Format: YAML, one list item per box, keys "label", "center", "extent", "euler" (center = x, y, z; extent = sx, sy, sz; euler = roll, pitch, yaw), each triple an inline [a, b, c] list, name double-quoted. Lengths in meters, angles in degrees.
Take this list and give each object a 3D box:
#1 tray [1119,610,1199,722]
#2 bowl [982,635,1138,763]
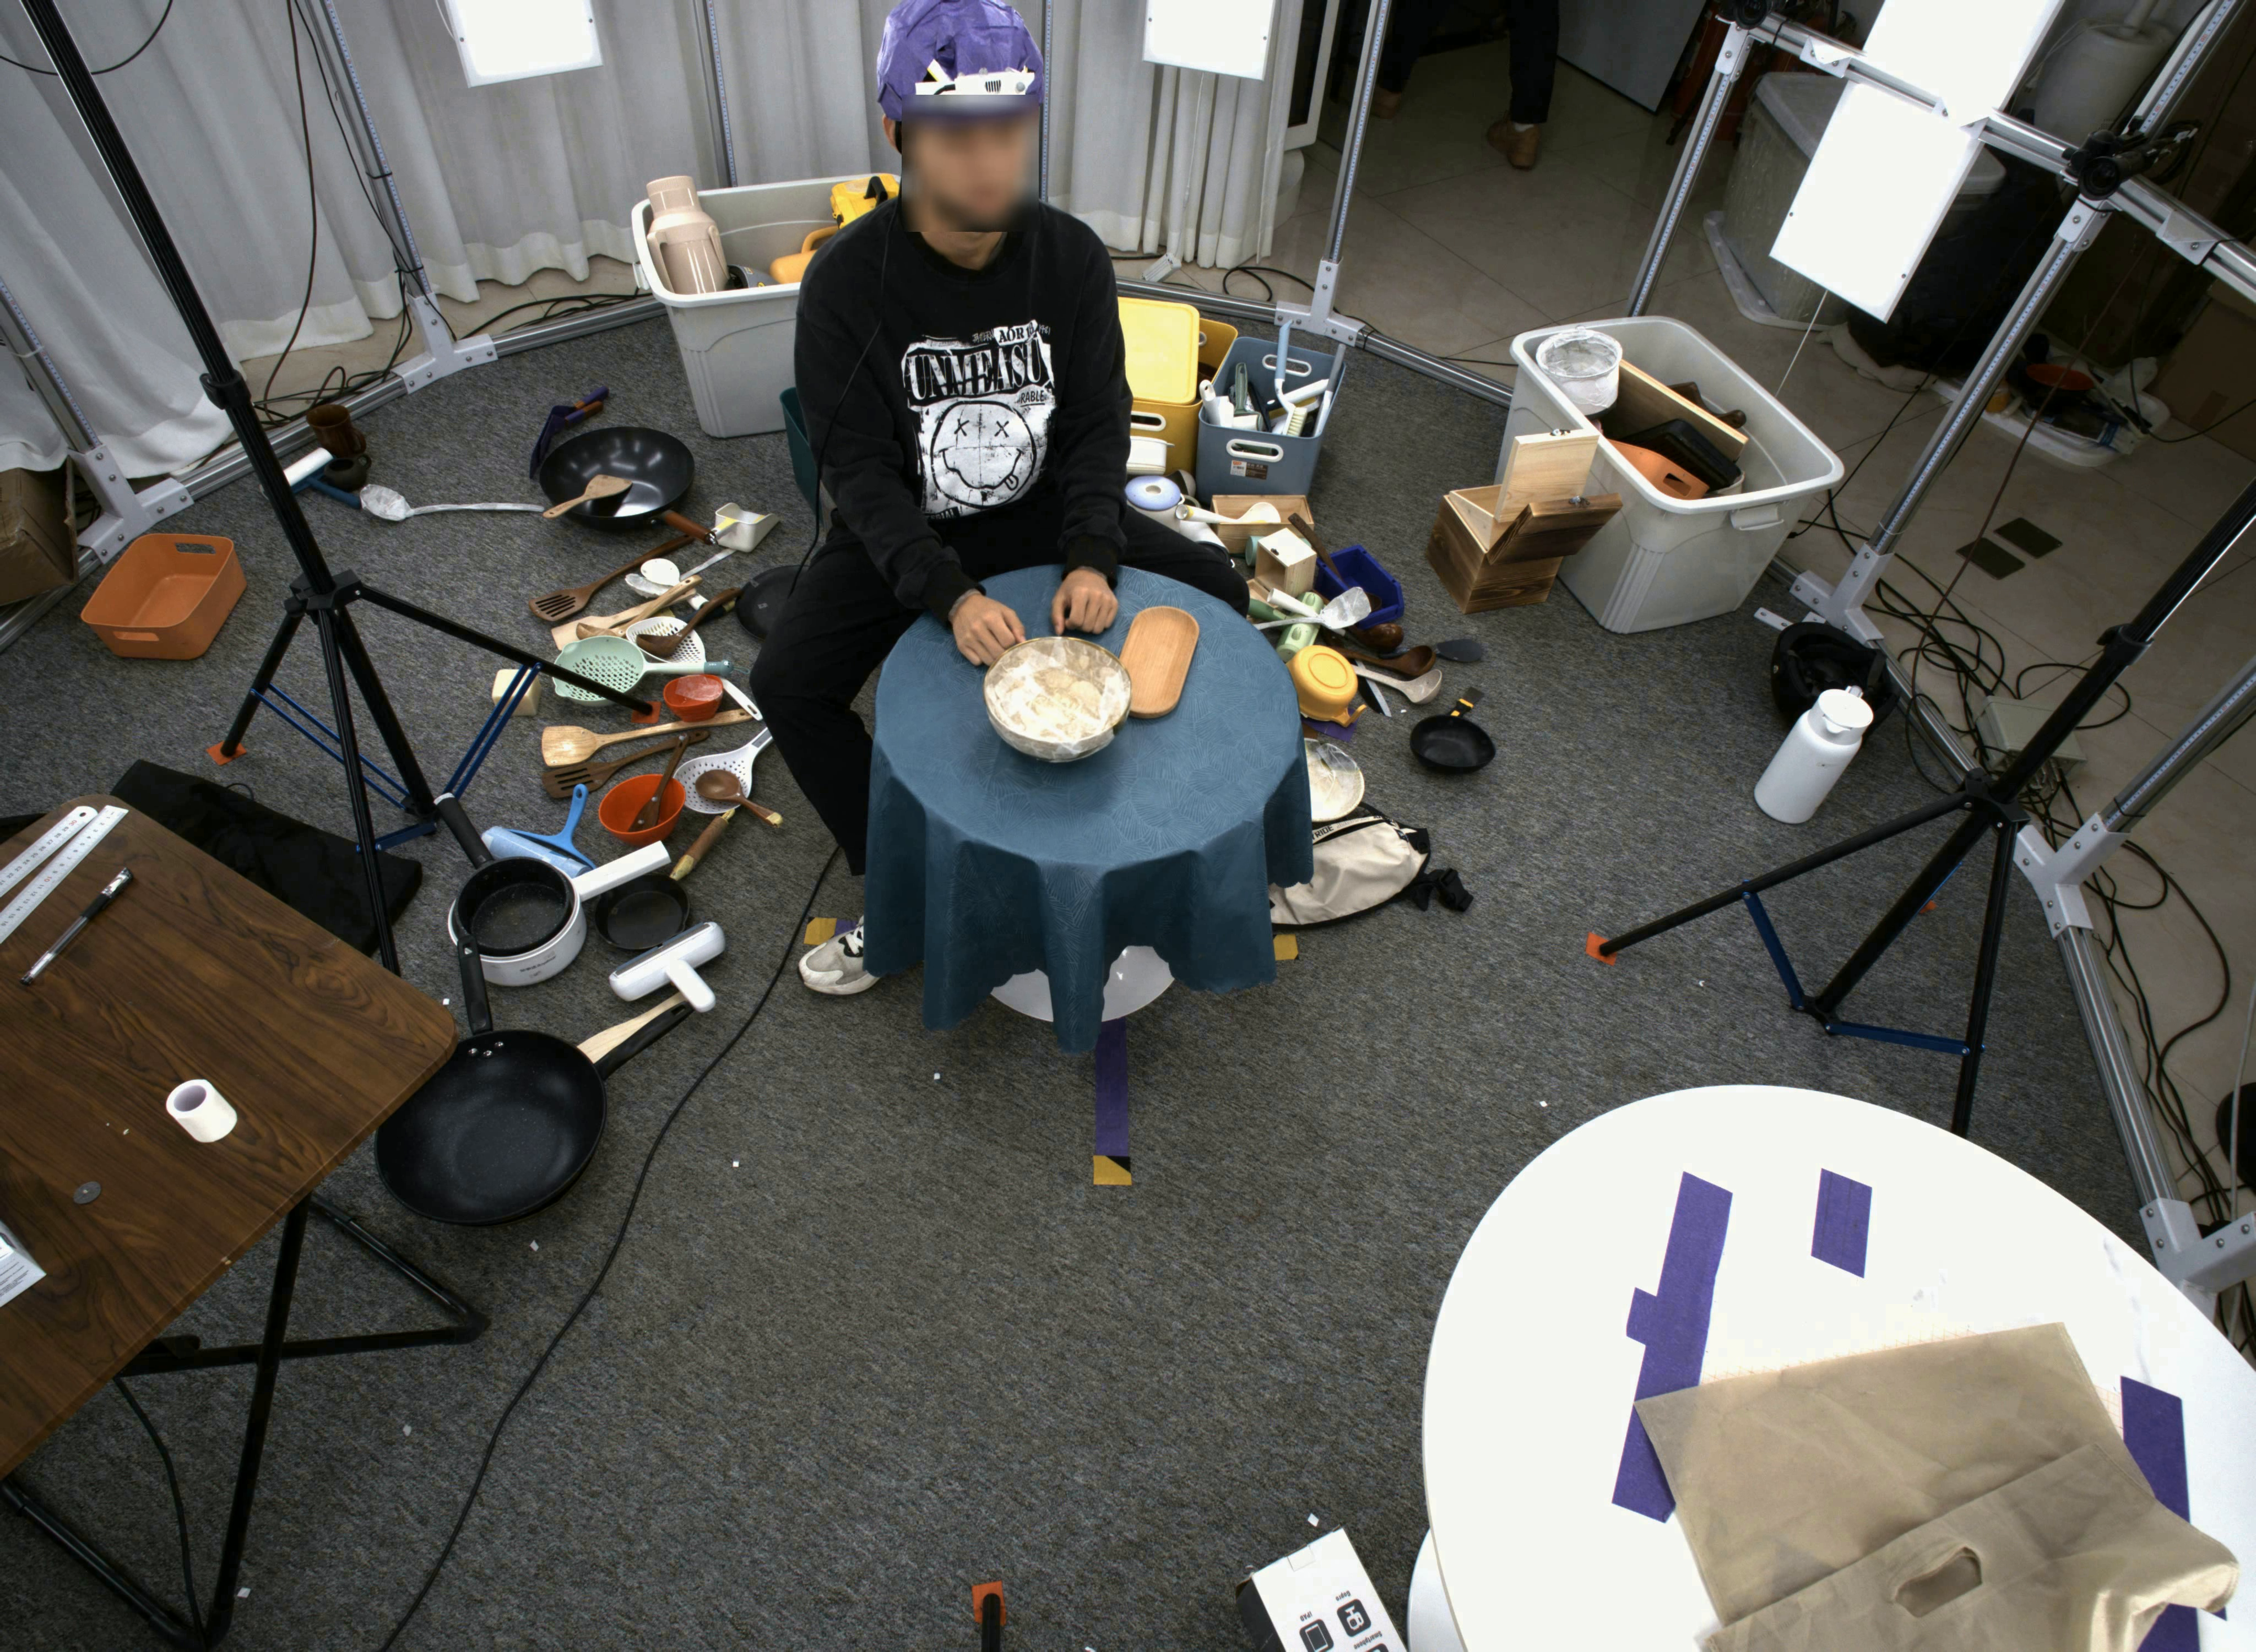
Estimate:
- label: "tray"
  center: [0.041, -0.237, 1.884]
  extent: [0.102, 0.020, 0.236]
  euler: [10, 51, 8]
- label: "bowl"
  center: [-0.092, -0.160, 1.757]
  extent: [0.214, 0.092, 0.220]
  euler: [1, 49, -1]
